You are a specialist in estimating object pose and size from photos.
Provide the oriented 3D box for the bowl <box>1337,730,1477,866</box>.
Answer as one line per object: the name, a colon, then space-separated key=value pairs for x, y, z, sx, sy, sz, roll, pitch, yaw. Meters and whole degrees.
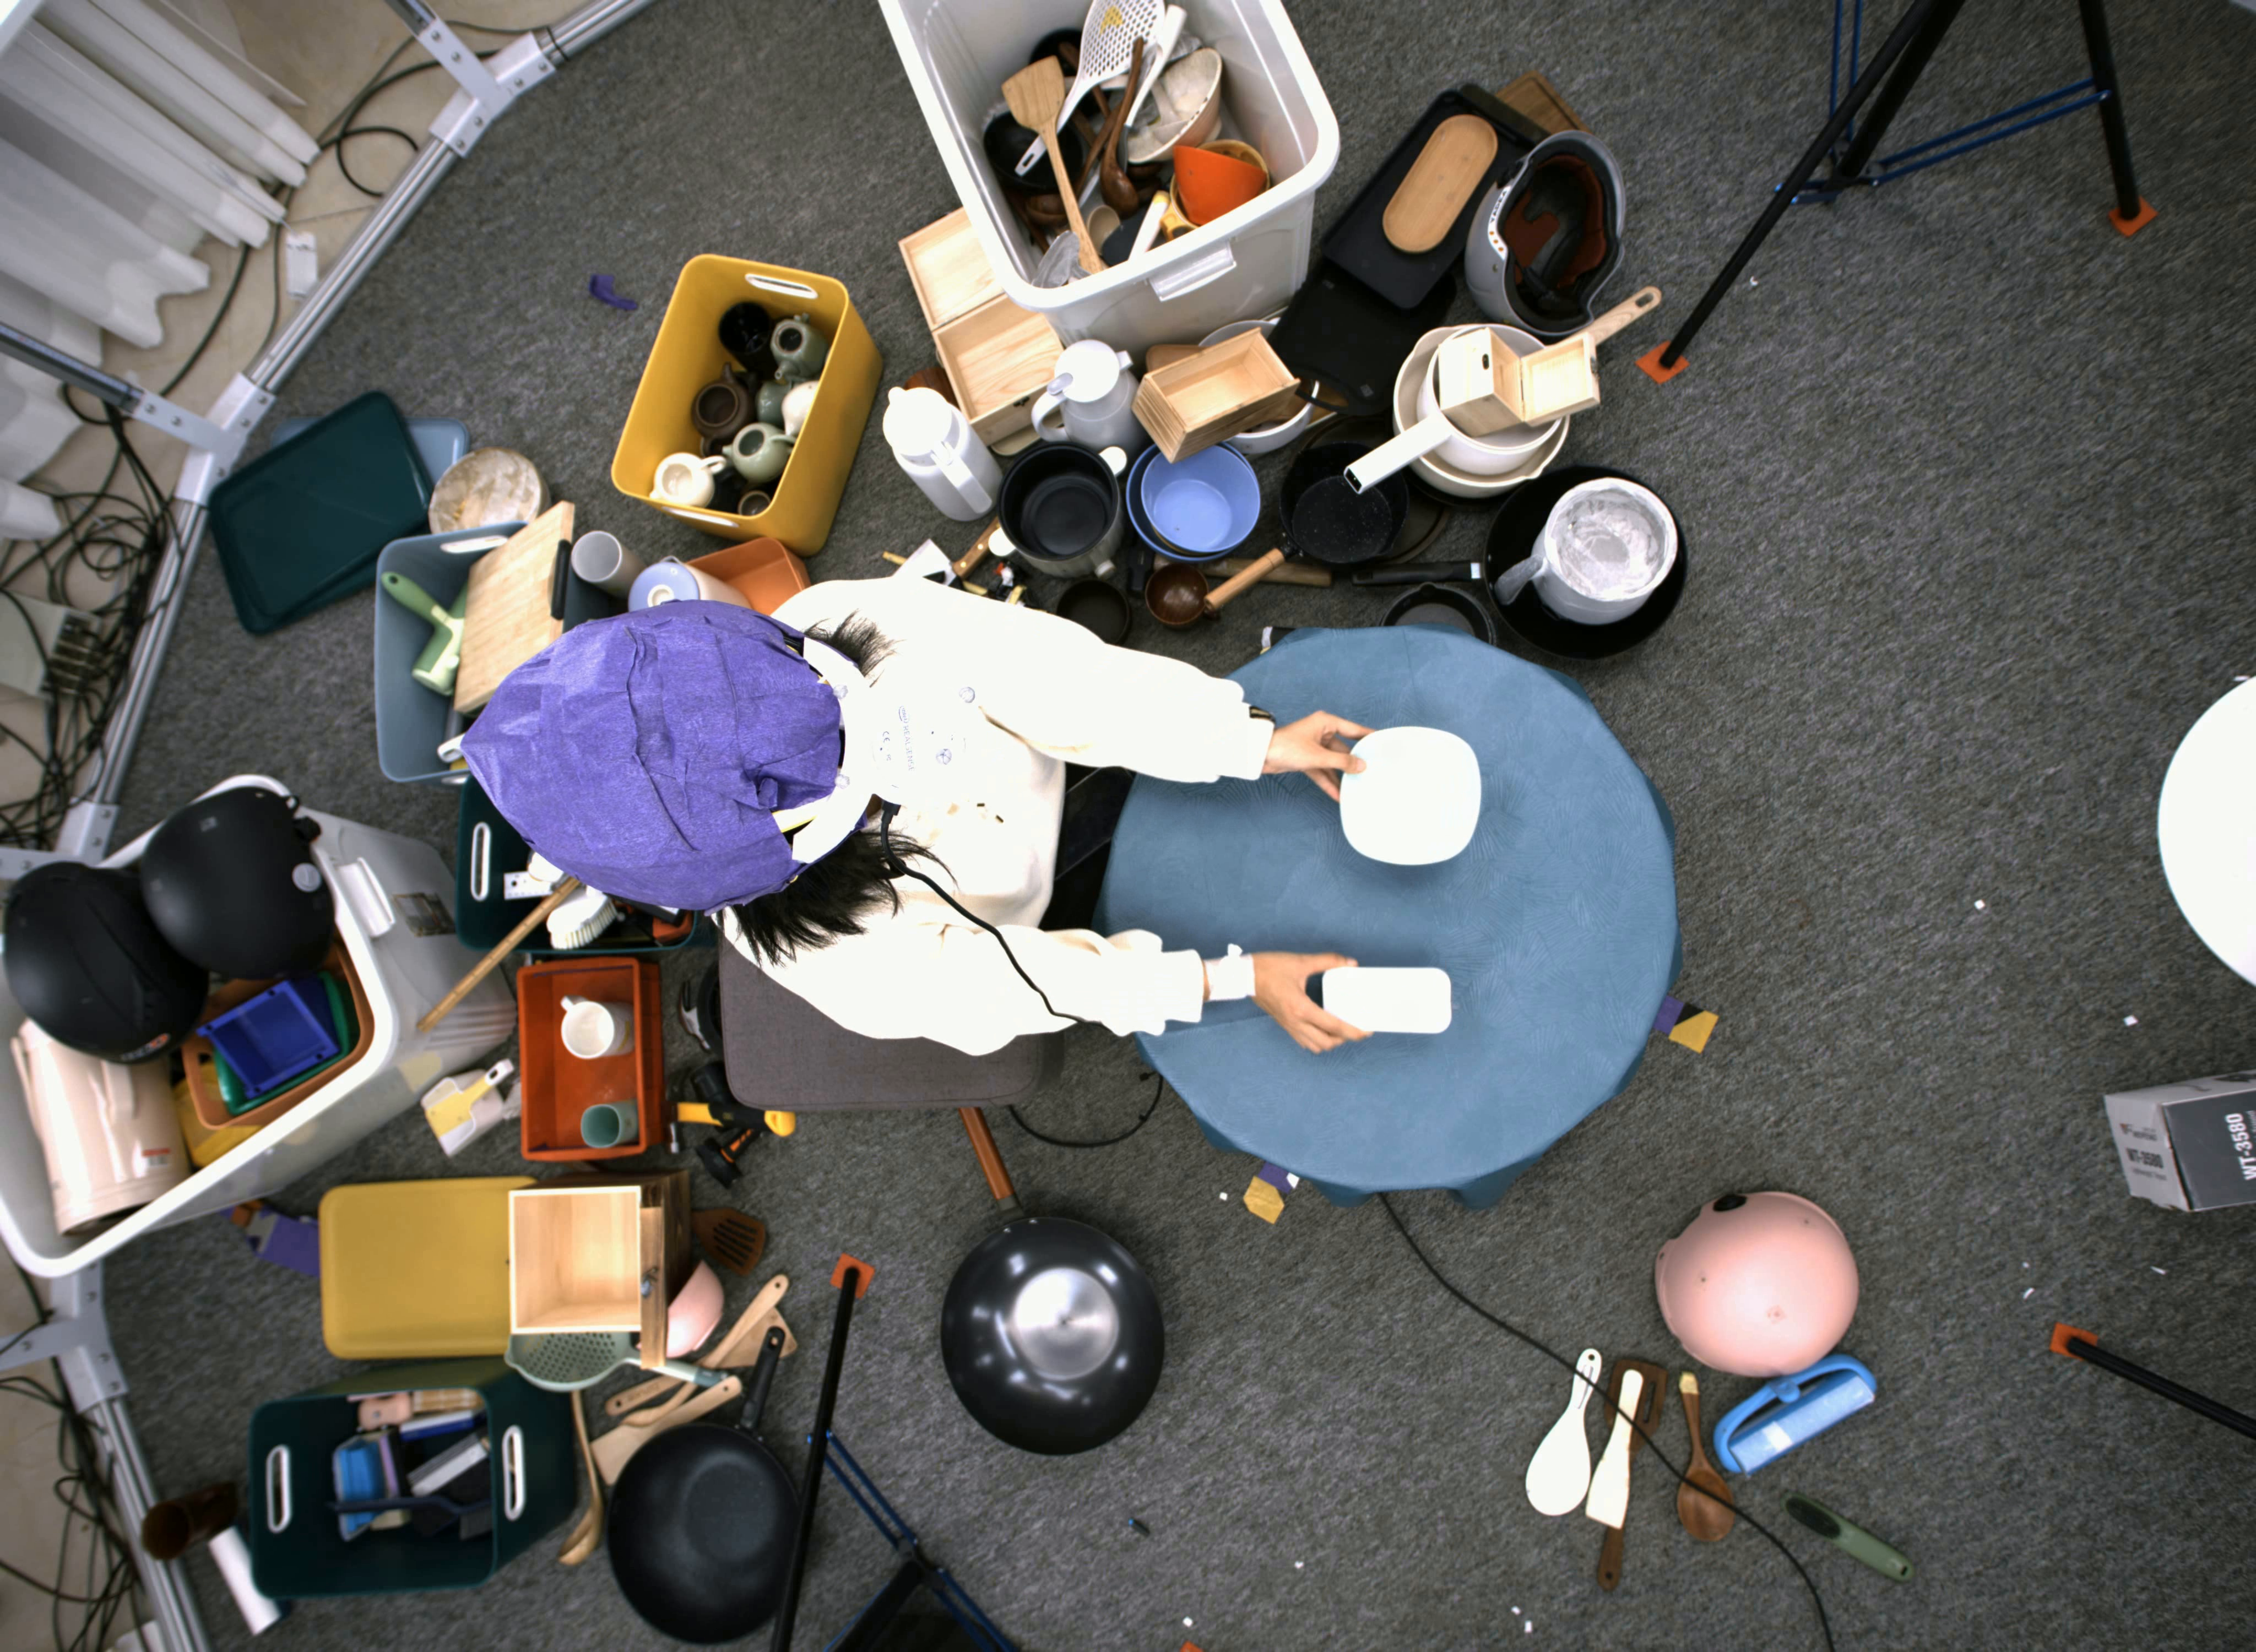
bowl: x=0.286 y=-0.026 z=1.396 sx=0.152 sy=0.059 sz=0.150 roll=-4 pitch=81 yaw=21

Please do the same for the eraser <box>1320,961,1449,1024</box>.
eraser: x=0.258 y=0.165 z=1.392 sx=0.132 sy=0.034 sz=0.063 roll=-3 pitch=90 yaw=27
